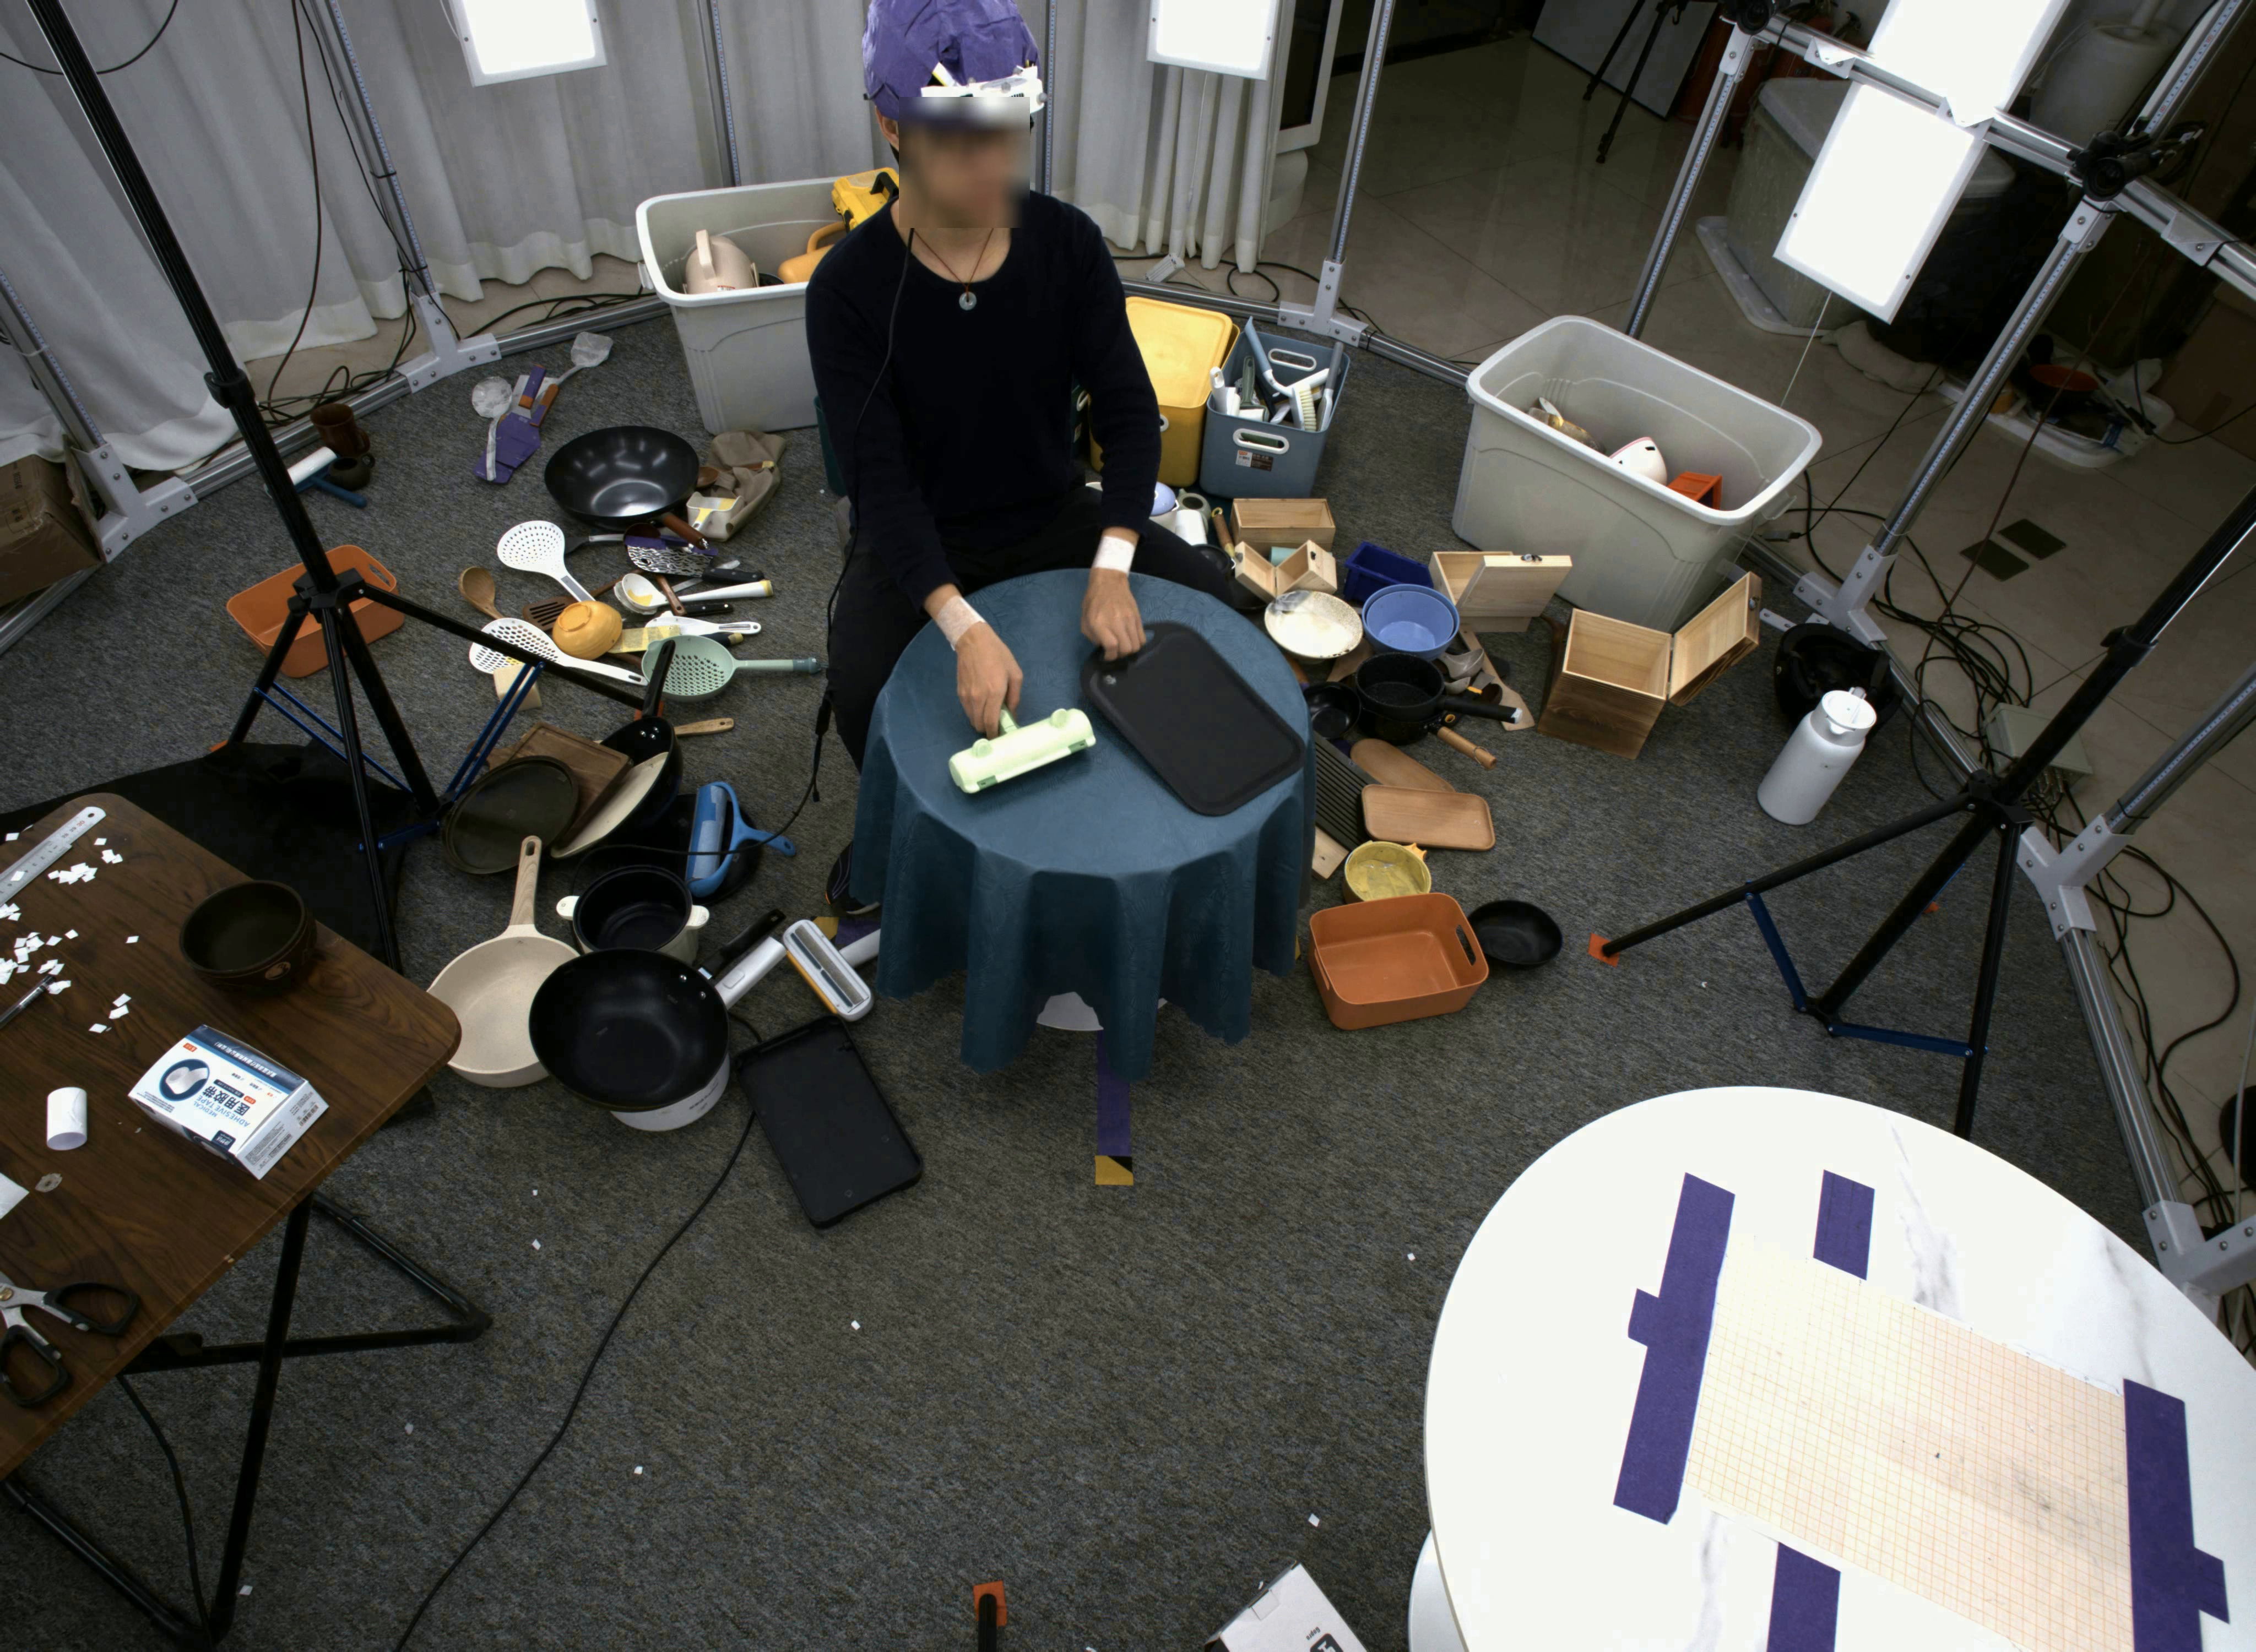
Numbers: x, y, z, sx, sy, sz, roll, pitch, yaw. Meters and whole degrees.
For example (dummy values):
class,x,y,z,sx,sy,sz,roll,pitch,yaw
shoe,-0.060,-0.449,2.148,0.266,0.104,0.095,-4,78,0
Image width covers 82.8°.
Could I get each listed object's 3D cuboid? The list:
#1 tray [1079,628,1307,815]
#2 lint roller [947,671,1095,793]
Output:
class,x,y,z,sx,sy,sz,roll,pitch,yaw
tray,0.083,-0.158,1.787,0.212,0.009,0.330,-30,63,-27
lint roller,-0.168,-0.150,1.722,0.199,0.080,0.186,-23,69,-22
